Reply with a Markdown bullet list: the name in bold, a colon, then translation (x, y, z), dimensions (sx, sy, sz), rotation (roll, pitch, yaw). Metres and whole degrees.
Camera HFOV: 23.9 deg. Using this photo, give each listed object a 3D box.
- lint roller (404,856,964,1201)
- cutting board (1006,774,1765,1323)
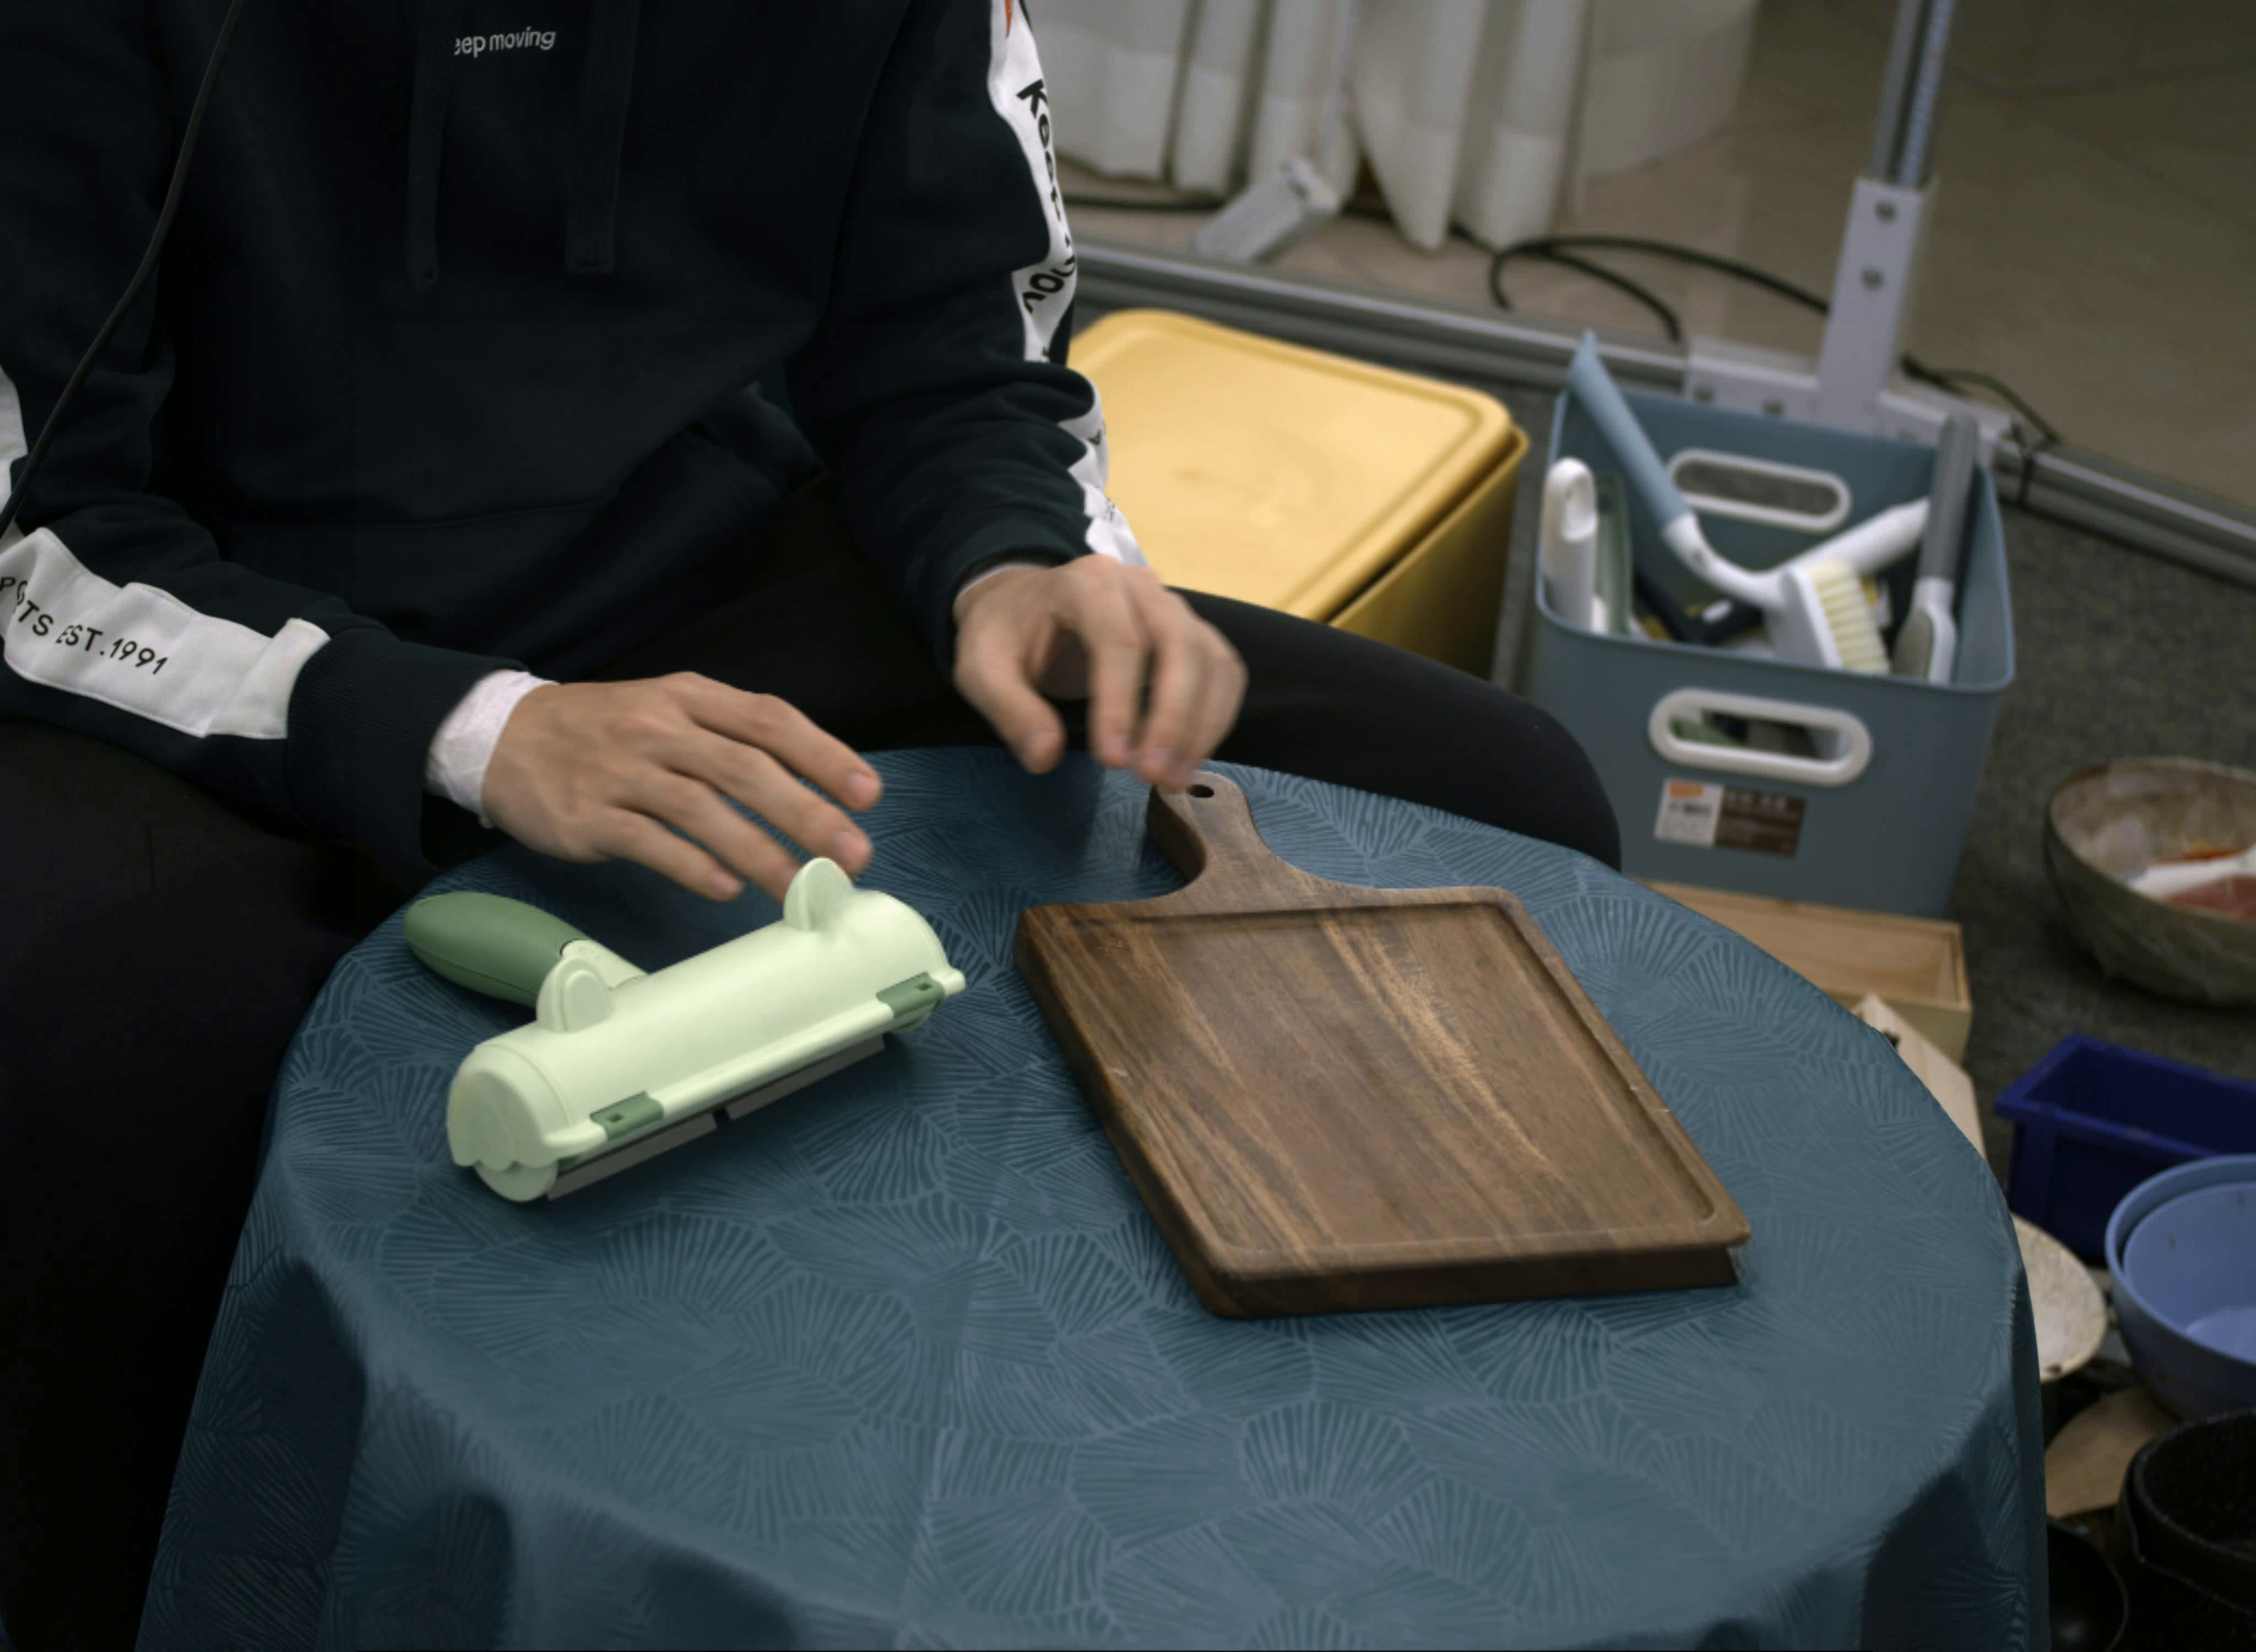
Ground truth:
- **lint roller**: translation (-0.184, 0.043, 1.832), dimensions (0.184, 0.082, 0.198), rotation (31, 36, 32)
- **cutting board**: translation (0.071, 0.070, 1.898), dimensions (0.200, 0.023, 0.355), rotation (-2, 28, -18)
